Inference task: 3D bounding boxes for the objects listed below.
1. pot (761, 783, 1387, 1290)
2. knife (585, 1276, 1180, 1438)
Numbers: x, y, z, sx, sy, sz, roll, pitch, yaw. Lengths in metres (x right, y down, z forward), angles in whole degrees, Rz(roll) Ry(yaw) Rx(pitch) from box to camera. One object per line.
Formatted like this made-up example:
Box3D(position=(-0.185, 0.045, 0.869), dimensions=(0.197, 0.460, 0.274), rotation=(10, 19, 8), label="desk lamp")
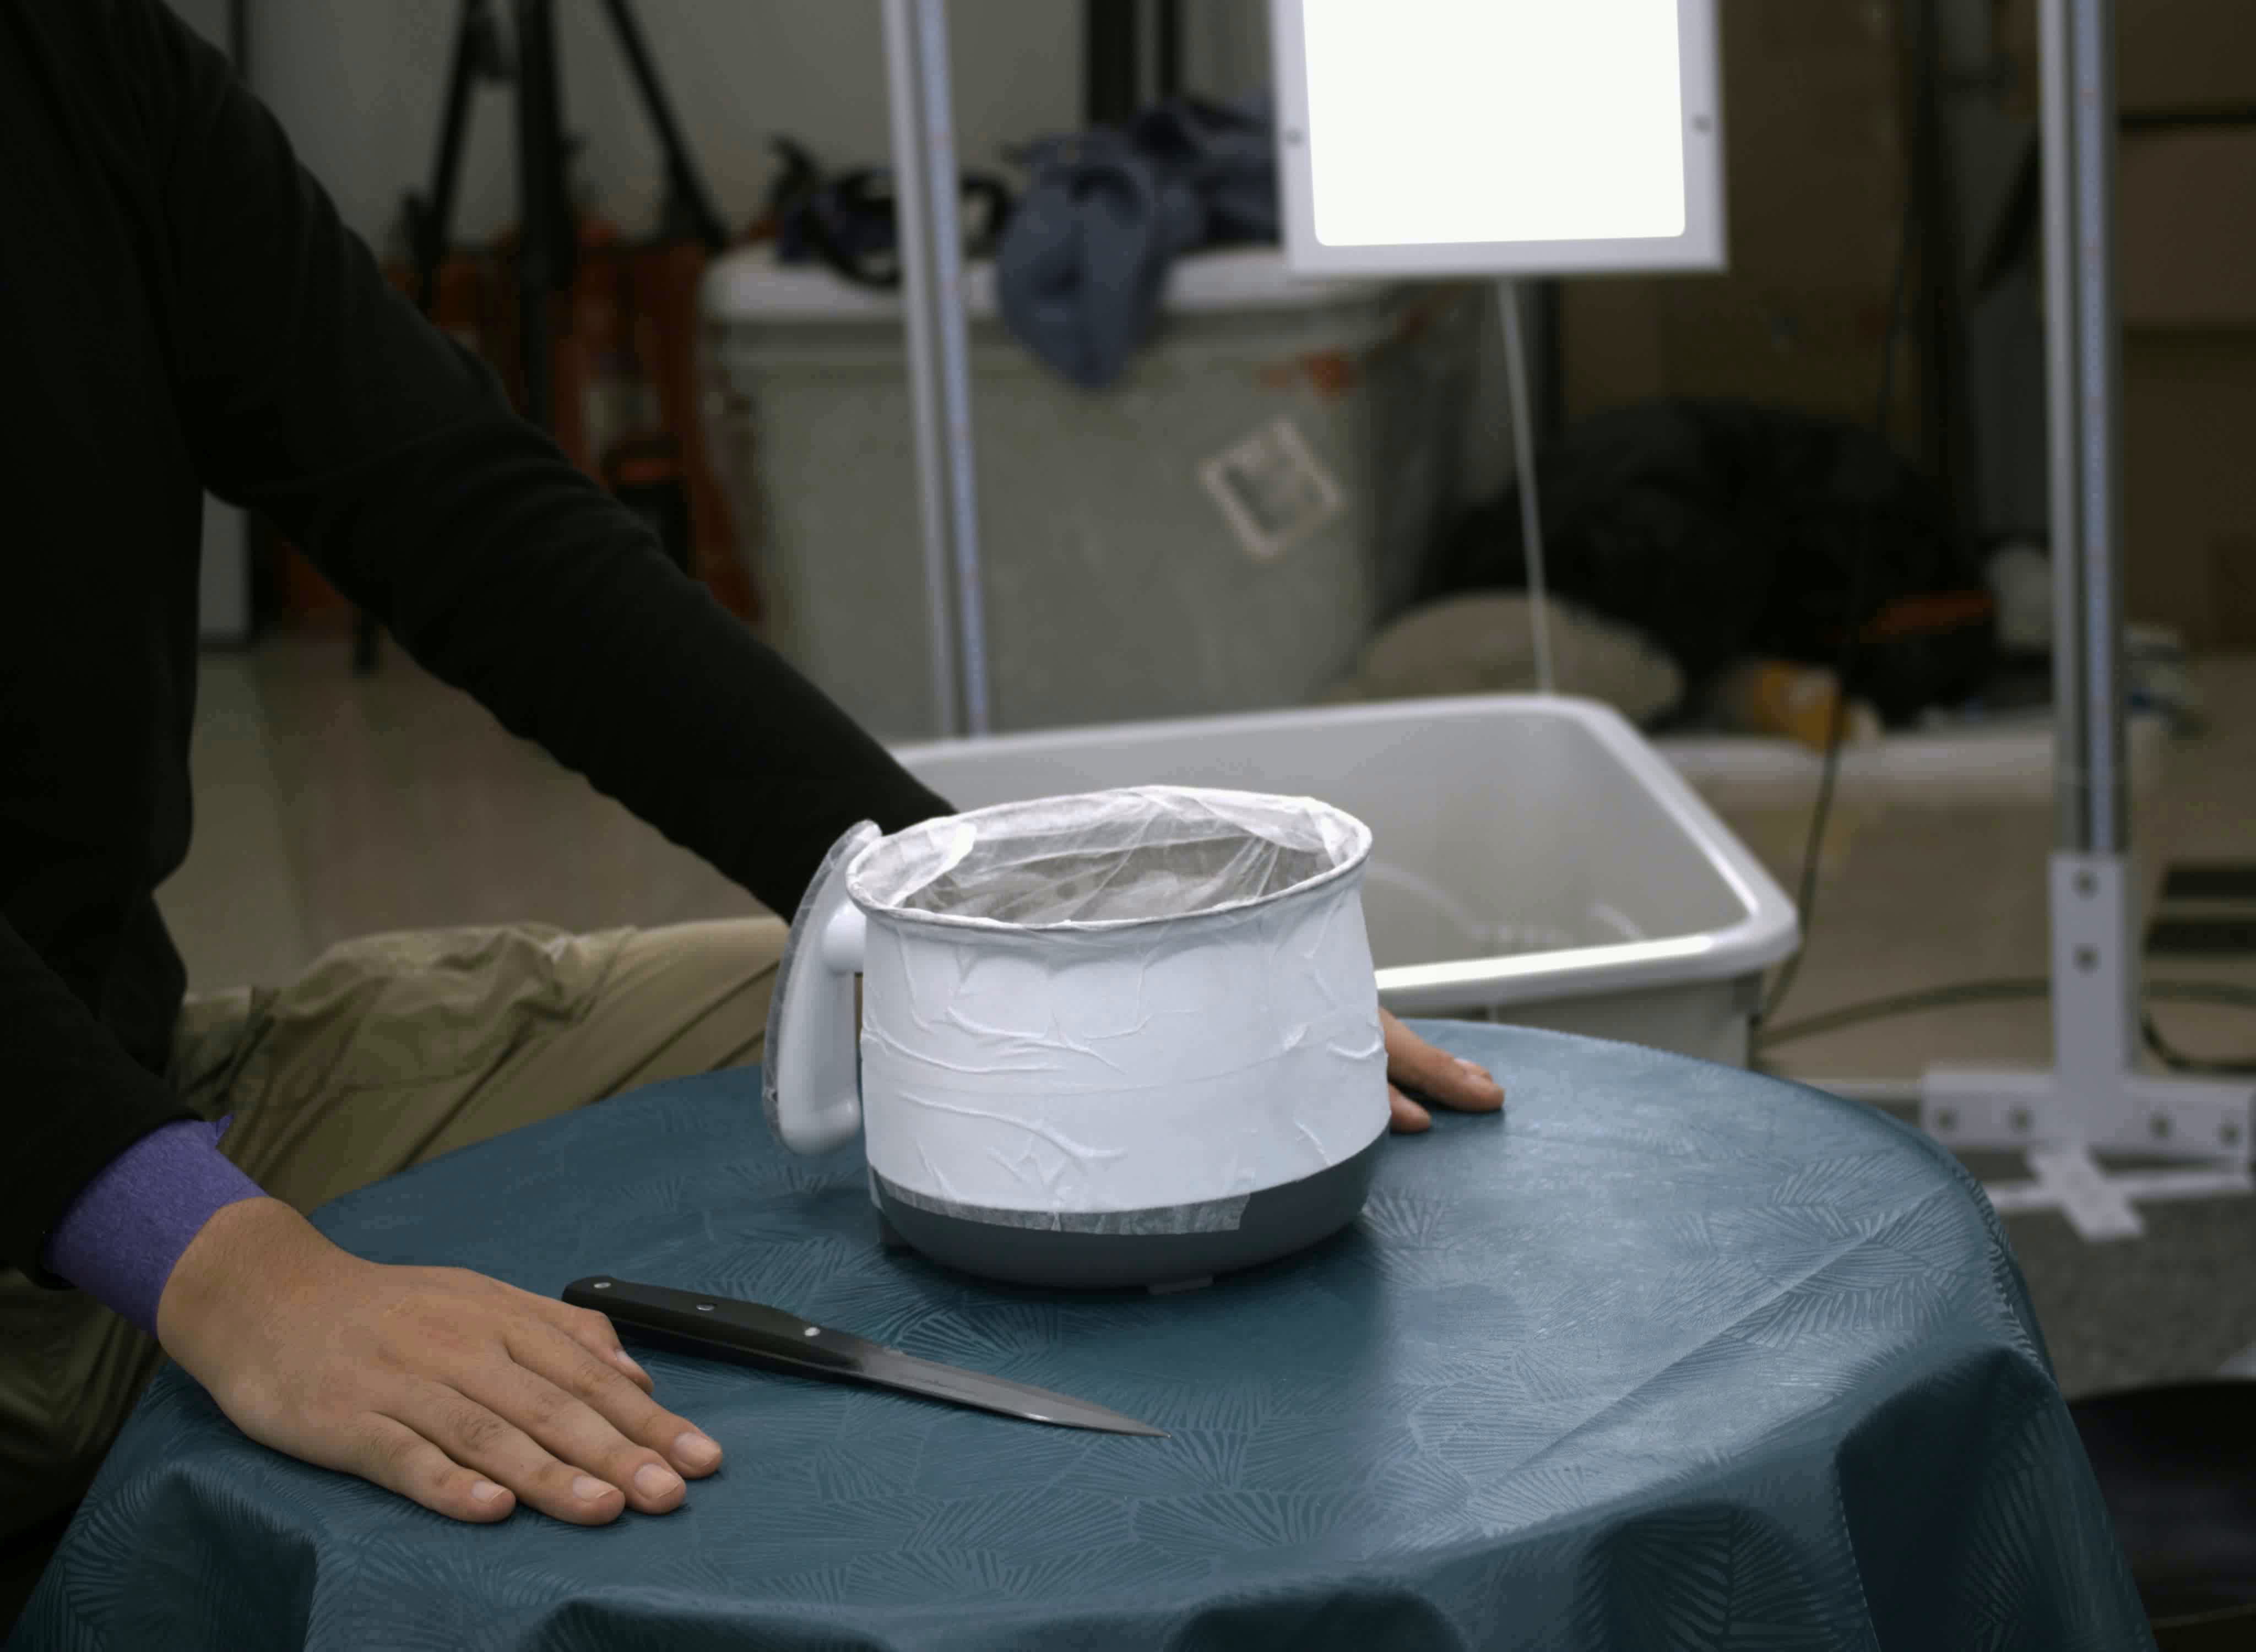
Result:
Box3D(position=(-0.026, 0.066, 1.855), dimensions=(0.238, 0.137, 0.174), rotation=(6, 16, 32), label="pot")
Box3D(position=(-0.082, 0.169, 1.732), dimensions=(0.243, 0.016, 0.024), rotation=(9, 20, 37), label="knife")
